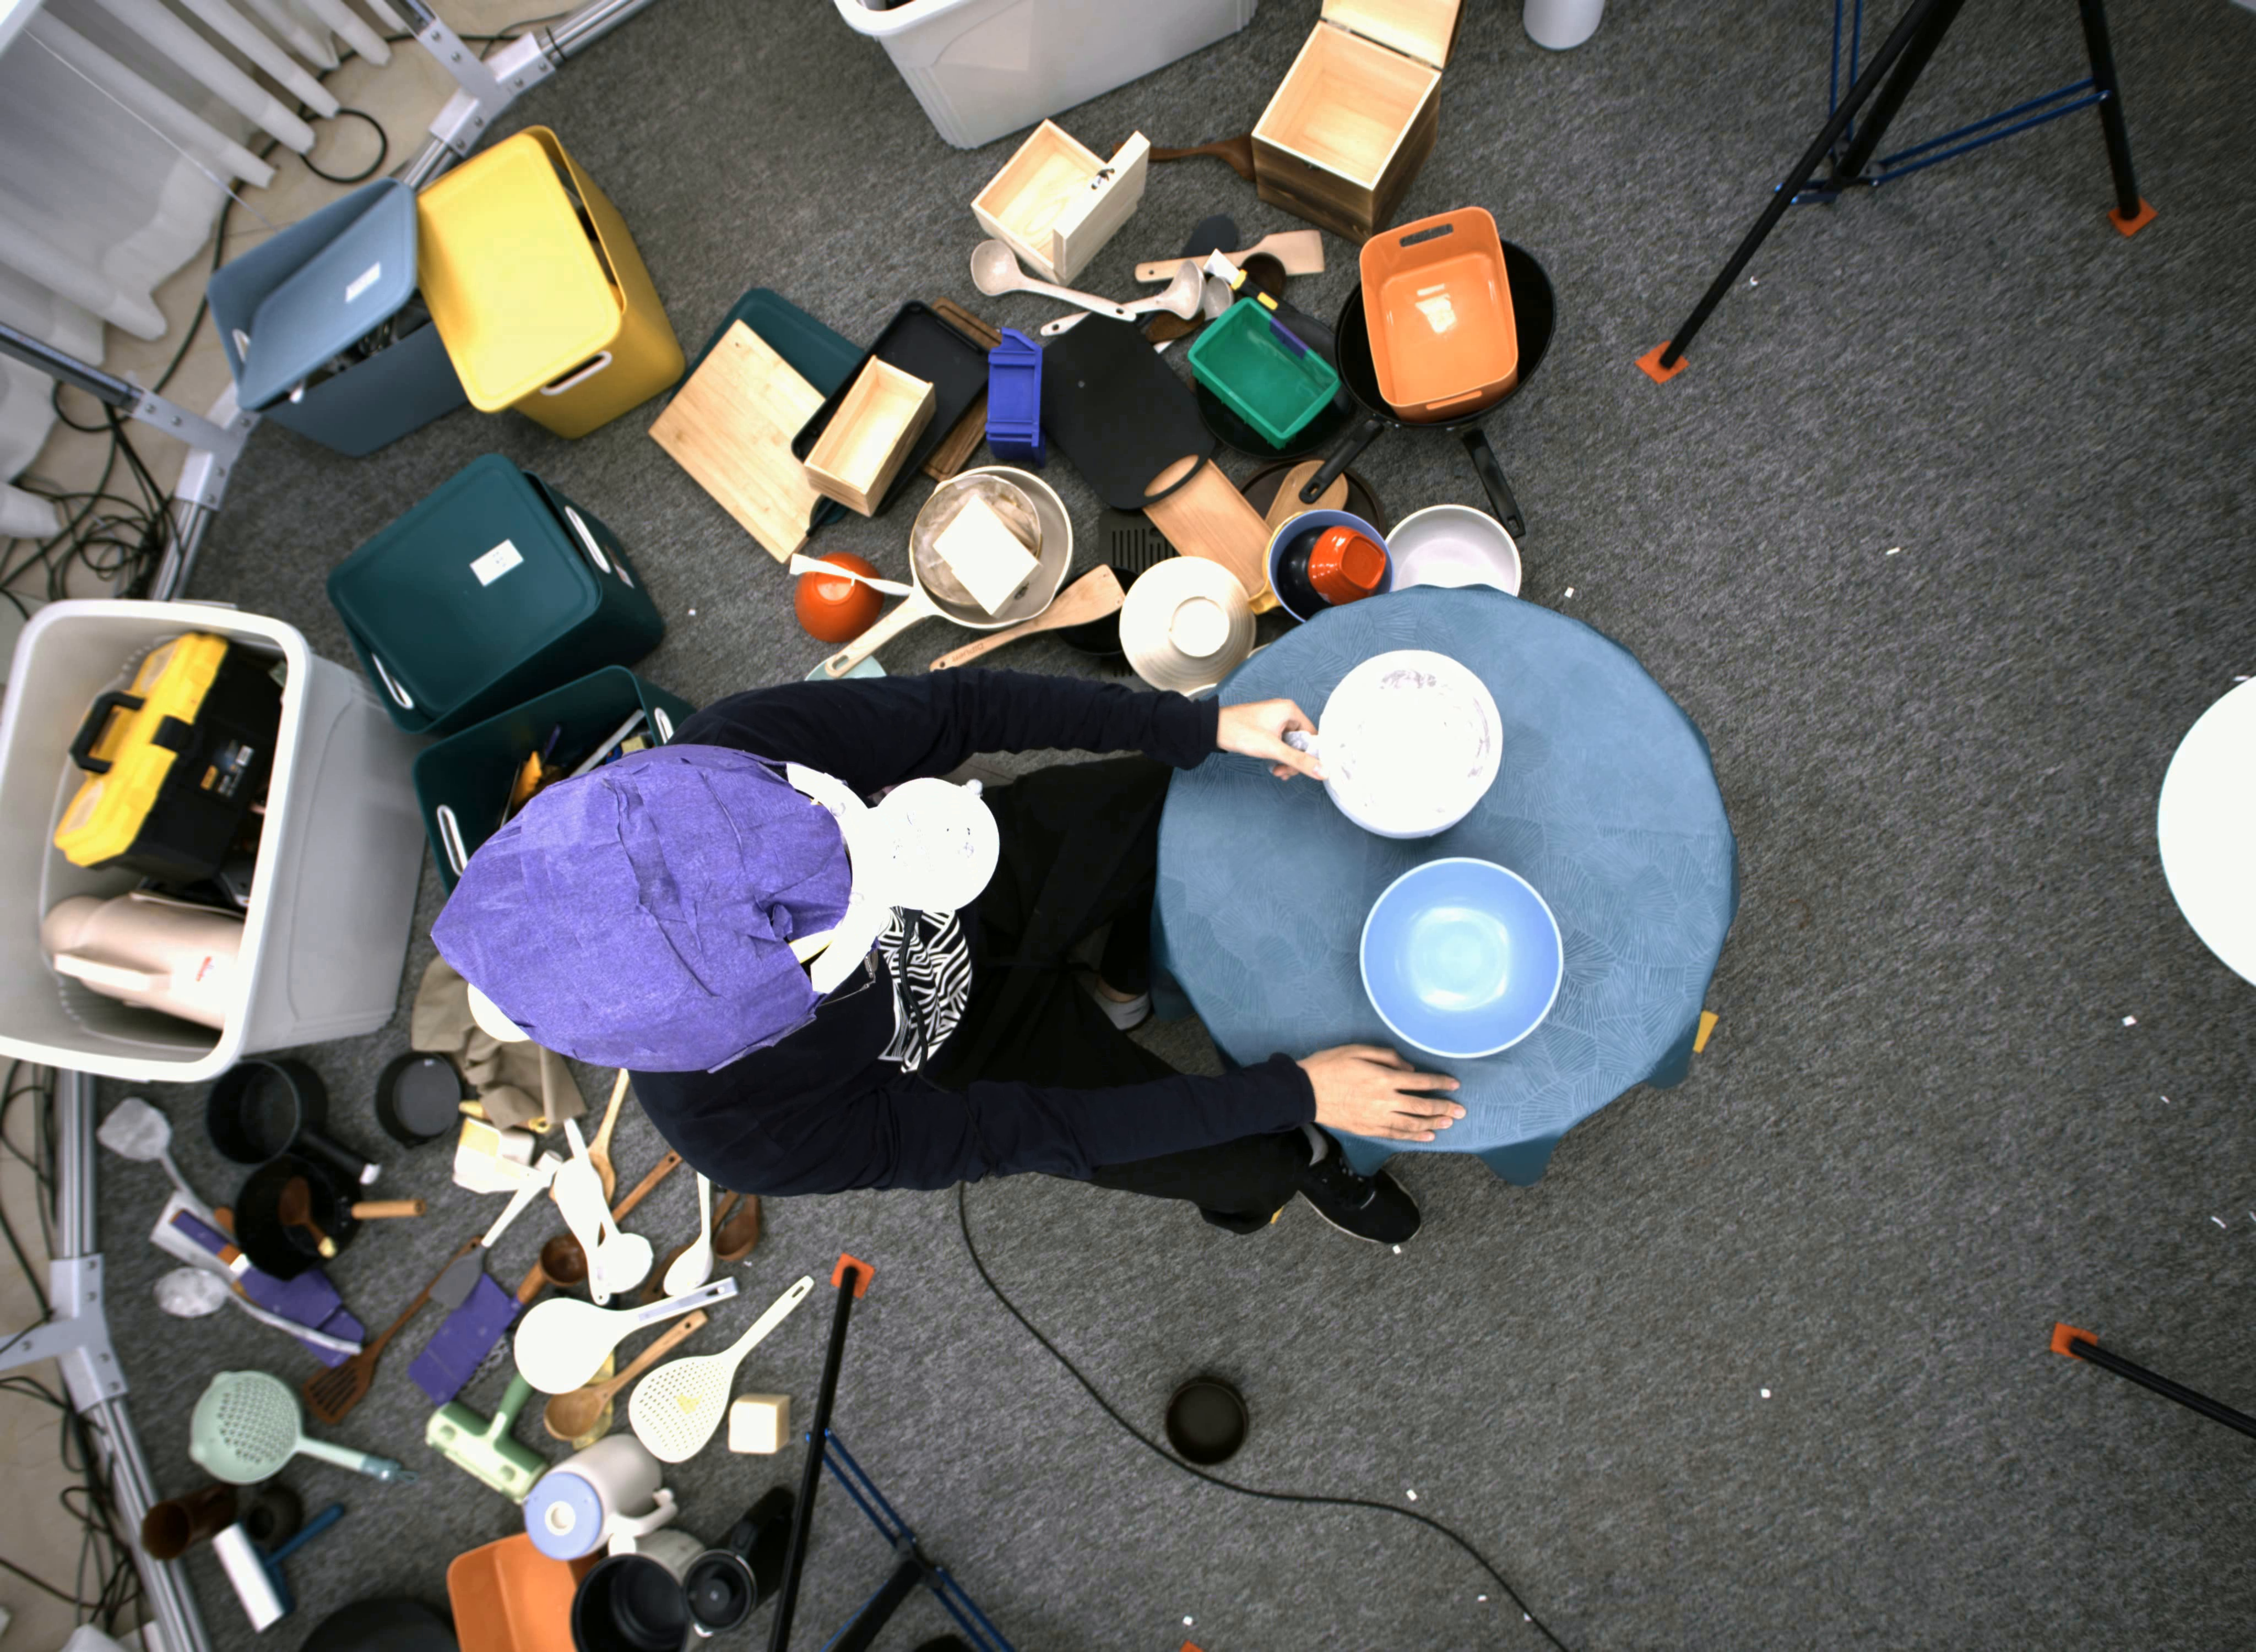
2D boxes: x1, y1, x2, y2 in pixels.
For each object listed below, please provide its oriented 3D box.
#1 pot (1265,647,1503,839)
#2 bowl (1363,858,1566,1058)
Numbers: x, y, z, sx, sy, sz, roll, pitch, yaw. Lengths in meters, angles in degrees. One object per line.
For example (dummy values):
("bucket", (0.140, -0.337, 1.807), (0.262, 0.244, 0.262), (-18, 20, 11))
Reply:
("pot", (0.255, -0.079, 1.400), (0.234, 0.137, 0.177), (-2, 83, 9))
("bowl", (0.334, 0.130, 1.393), (0.197, 0.095, 0.196), (0, 88, 7))
